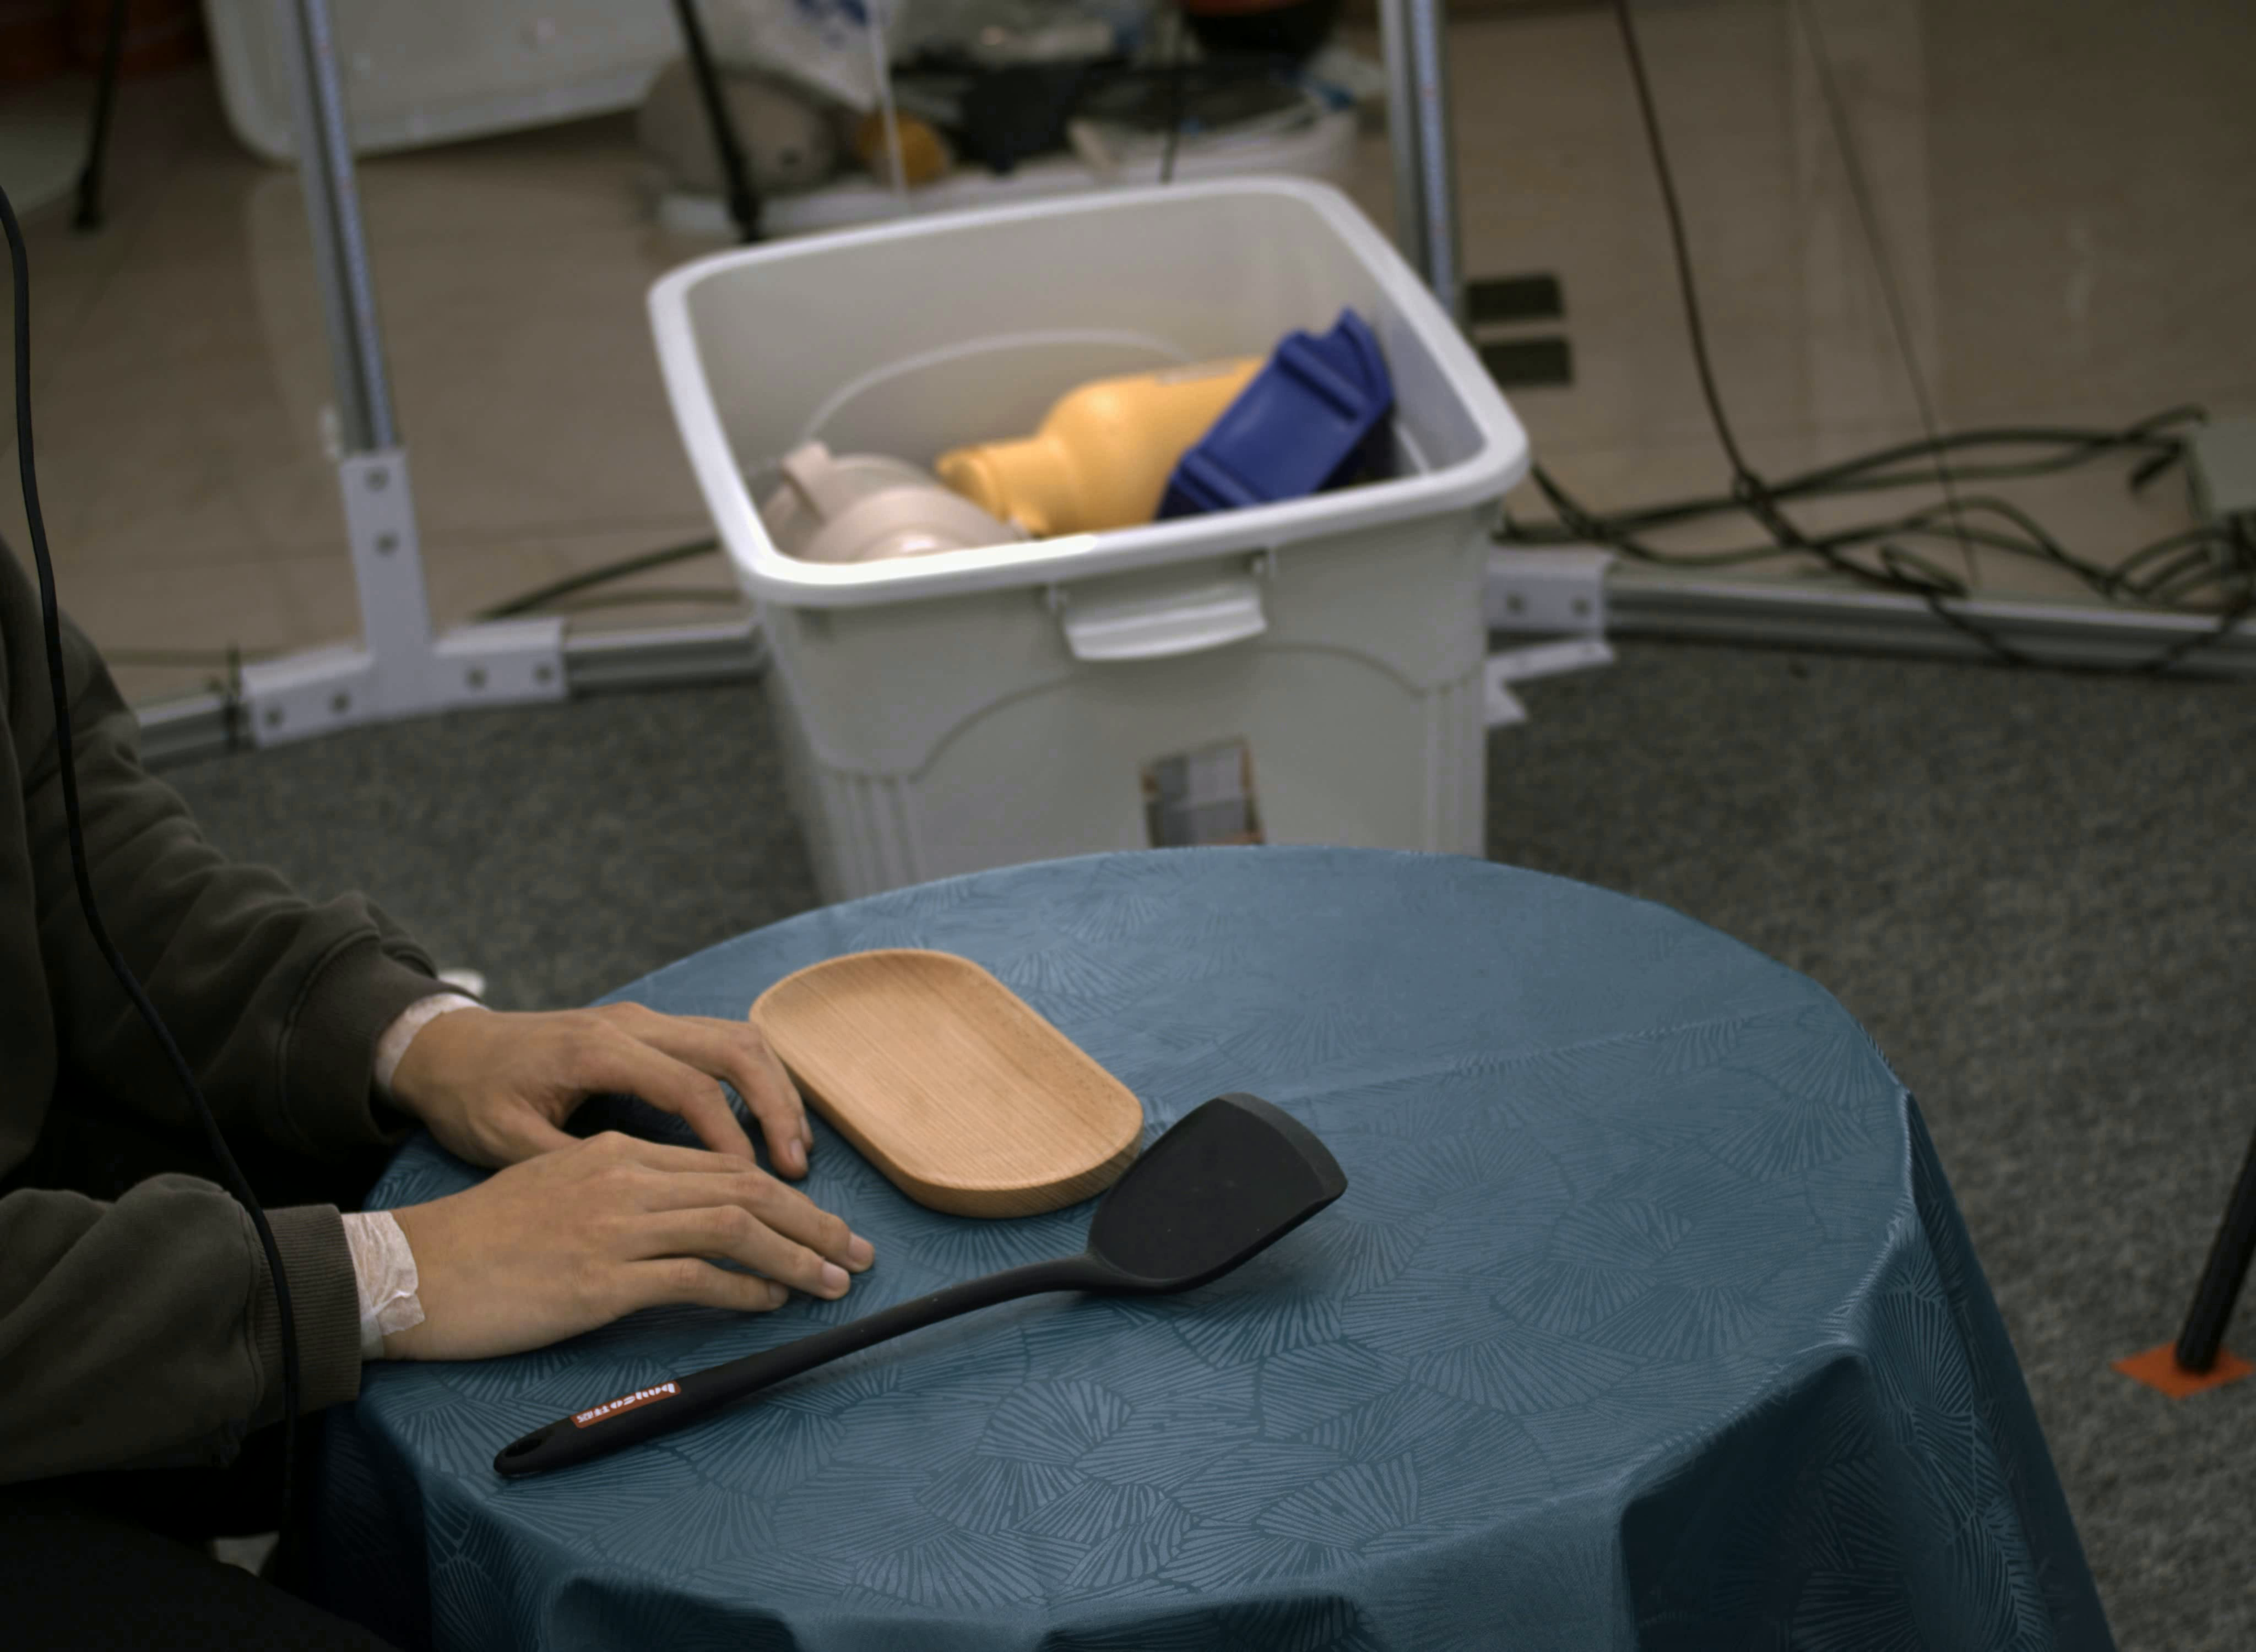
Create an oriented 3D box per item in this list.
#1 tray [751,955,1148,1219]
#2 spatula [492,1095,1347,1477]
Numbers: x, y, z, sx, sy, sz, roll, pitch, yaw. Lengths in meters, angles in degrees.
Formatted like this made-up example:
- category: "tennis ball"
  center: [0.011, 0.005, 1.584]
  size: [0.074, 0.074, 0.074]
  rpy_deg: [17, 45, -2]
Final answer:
- category: "tray"
  center: [-0.072, 0.101, 2.227]
  size: [0.101, 0.020, 0.228]
  rpy_deg: [-18, 28, -22]
- category: "spatula"
  center: [-0.079, 0.172, 2.052]
  size: [0.325, 0.041, 0.098]
  rpy_deg: [-16, 25, -19]
